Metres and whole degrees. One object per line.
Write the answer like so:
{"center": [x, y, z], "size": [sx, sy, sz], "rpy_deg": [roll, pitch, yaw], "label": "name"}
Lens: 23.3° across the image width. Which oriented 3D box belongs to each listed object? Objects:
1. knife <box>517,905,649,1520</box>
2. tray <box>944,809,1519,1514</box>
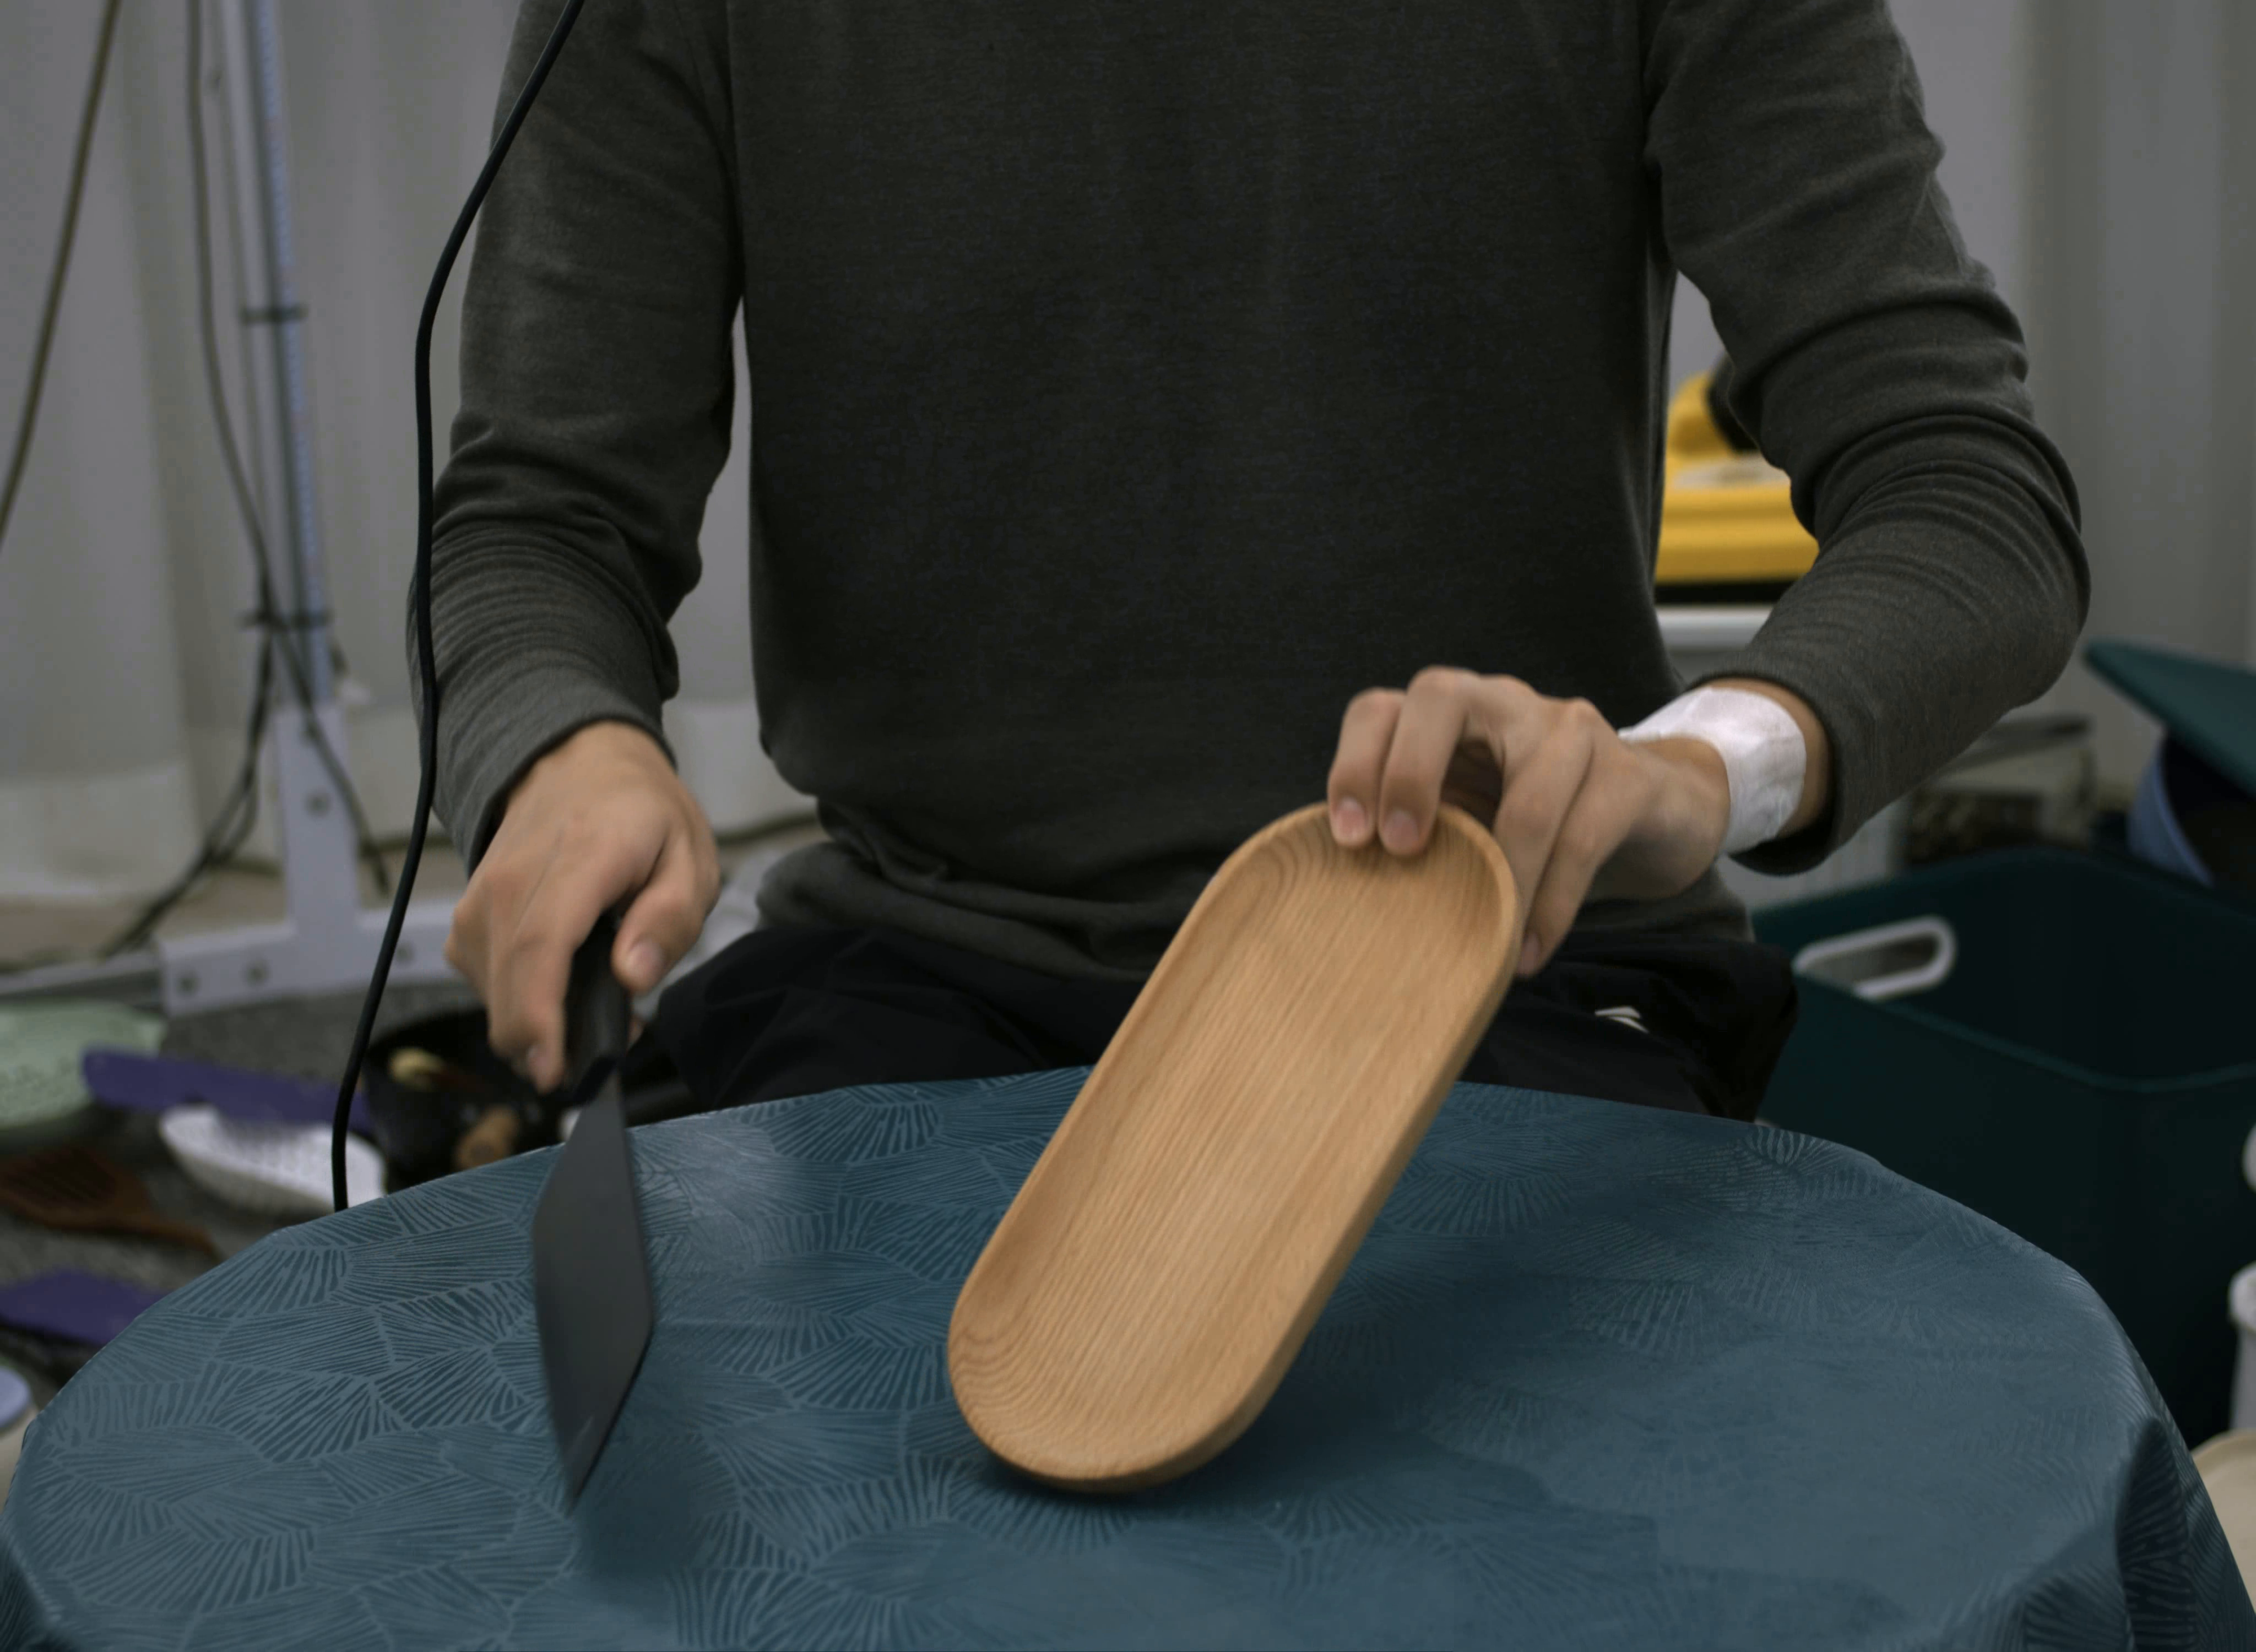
{"center": [-0.157, 0.100, 1.557], "size": [0.020, 0.080, 0.306], "rpy_deg": [22, 21, -16], "label": "knife"}
{"center": [0.031, 0.091, 1.515], "size": [0.102, 0.020, 0.233], "rpy_deg": [14, 62, 33], "label": "tray"}
